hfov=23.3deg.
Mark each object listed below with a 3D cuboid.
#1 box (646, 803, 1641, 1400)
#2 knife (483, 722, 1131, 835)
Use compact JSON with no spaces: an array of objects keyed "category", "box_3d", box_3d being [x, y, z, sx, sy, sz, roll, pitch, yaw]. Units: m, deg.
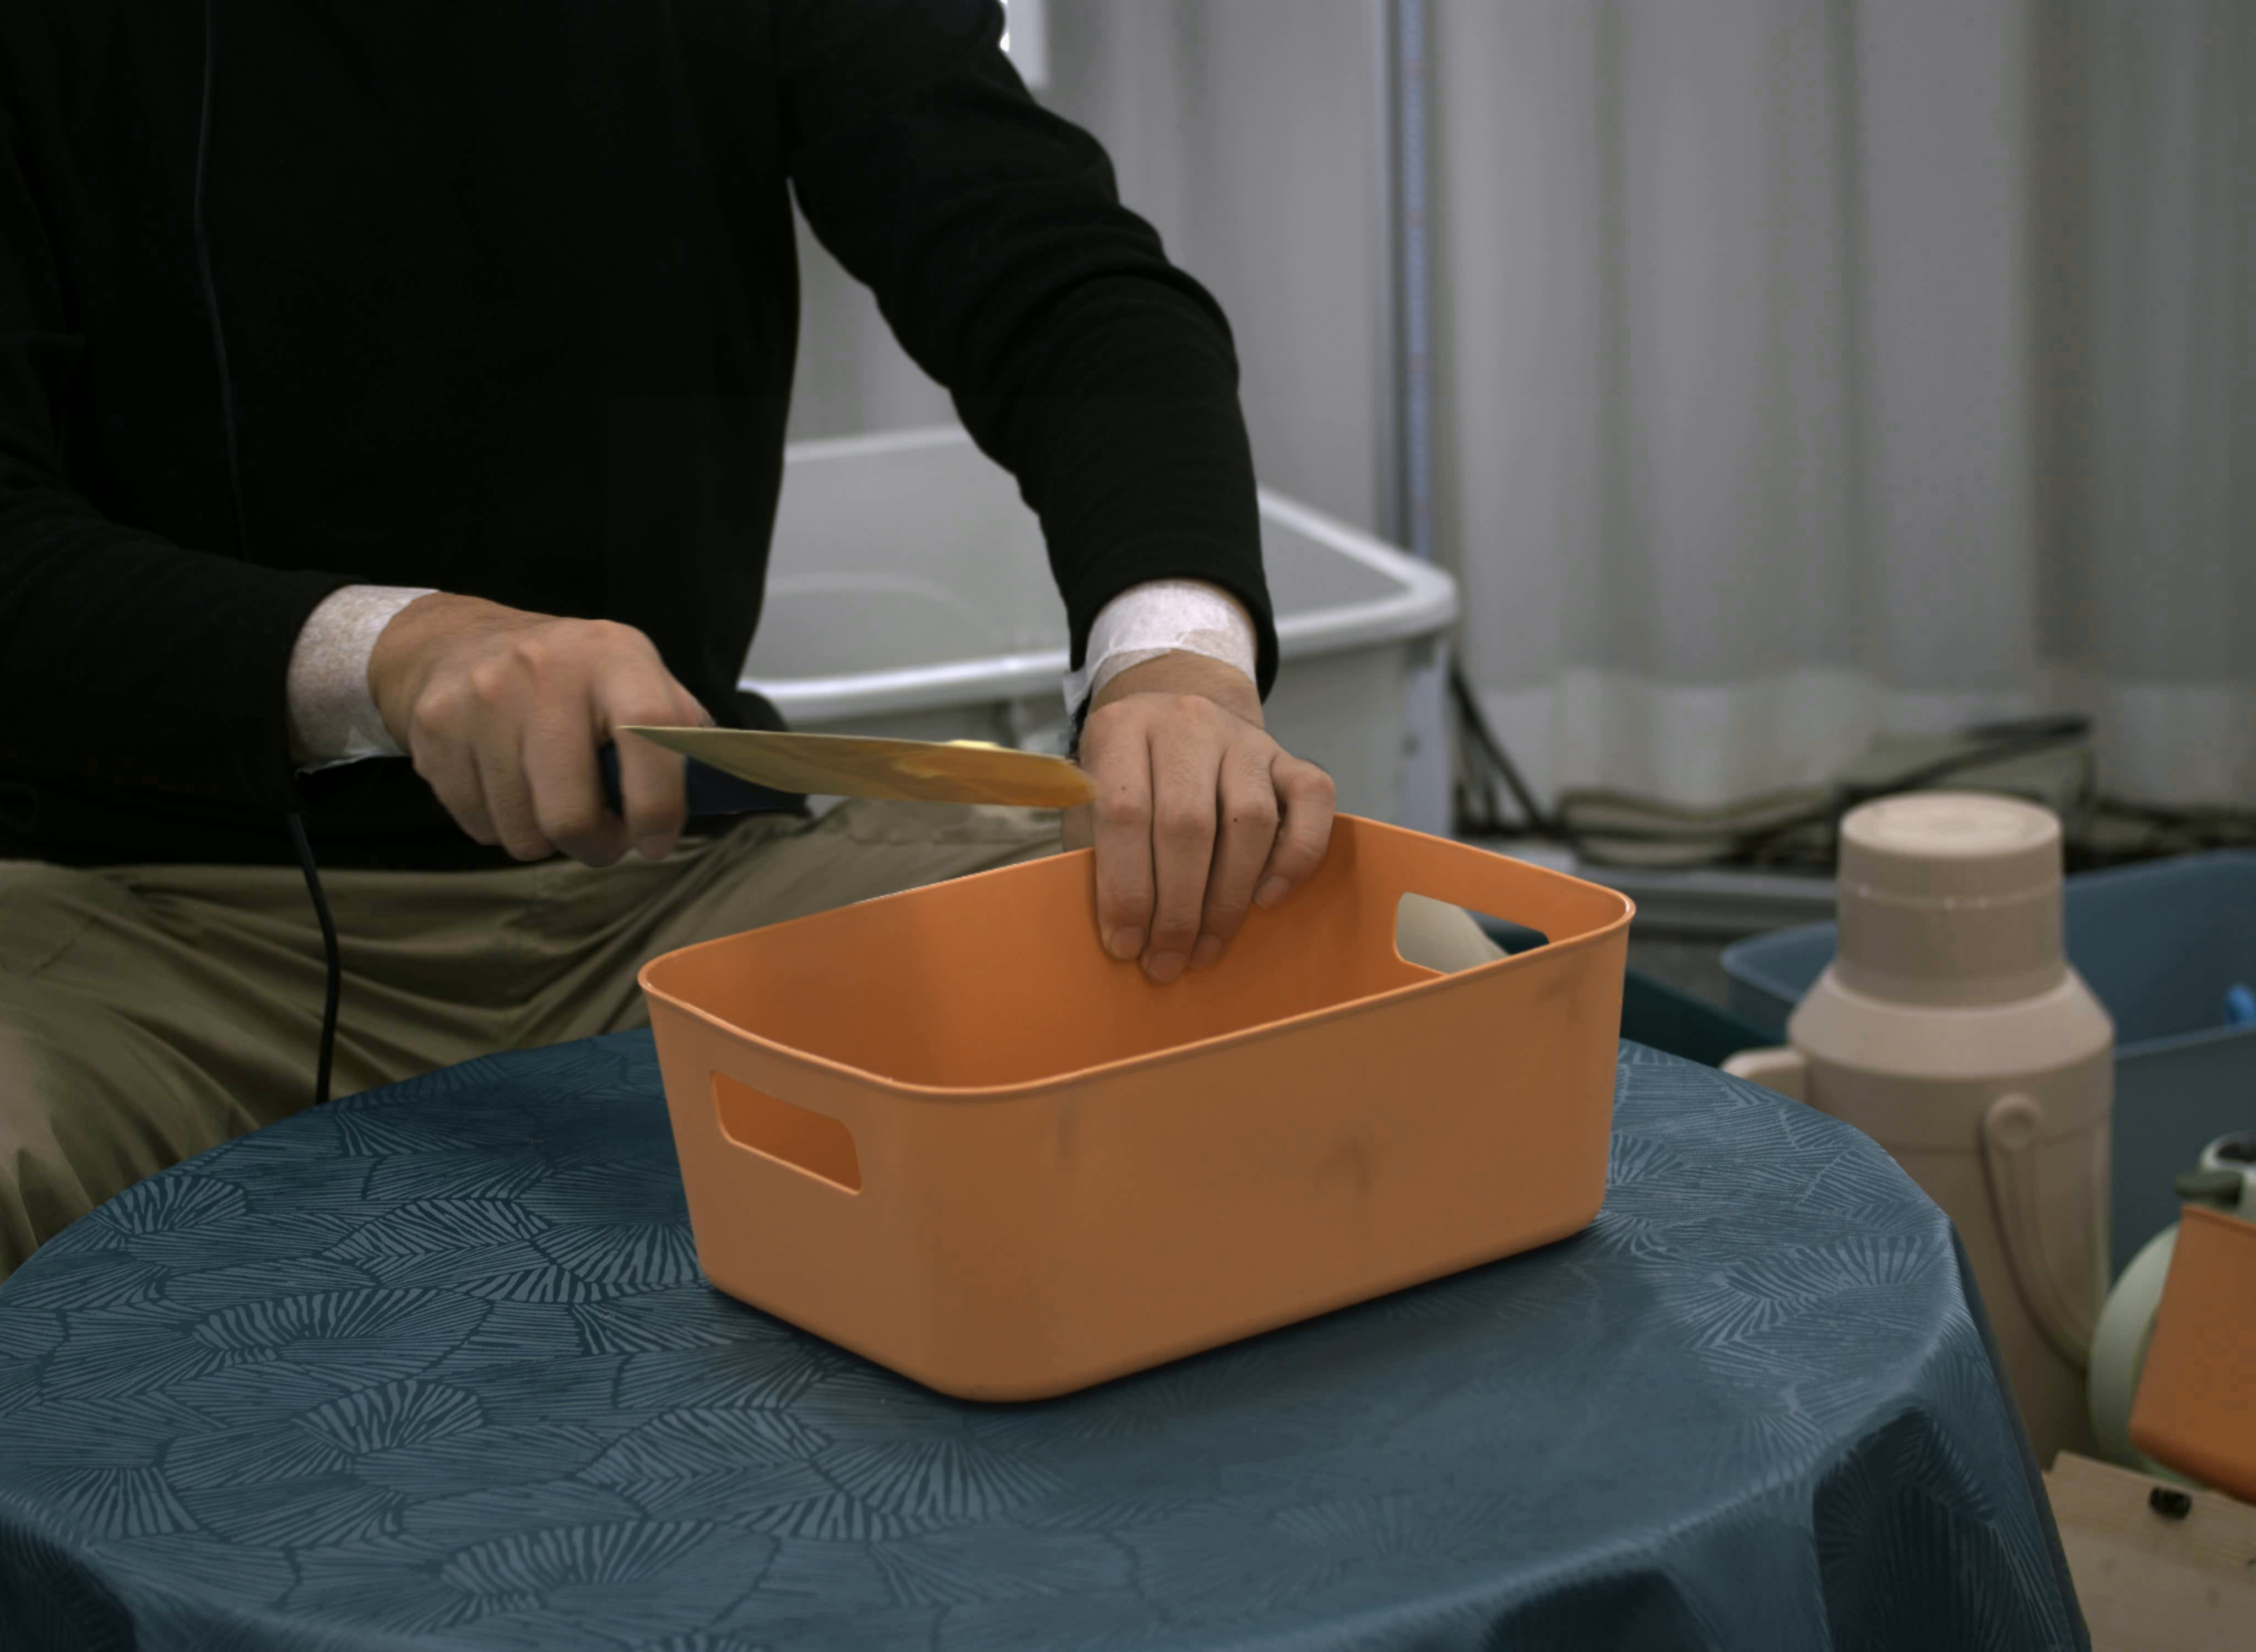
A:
[{"category":"box","box_3d":[0.006,0.079,1.644,0.272,0.102,0.201,-13,19,-34]},{"category":"knife","box_3d":[-0.108,-0.017,1.688,0.290,0.027,0.080,-1,-20,44]}]
